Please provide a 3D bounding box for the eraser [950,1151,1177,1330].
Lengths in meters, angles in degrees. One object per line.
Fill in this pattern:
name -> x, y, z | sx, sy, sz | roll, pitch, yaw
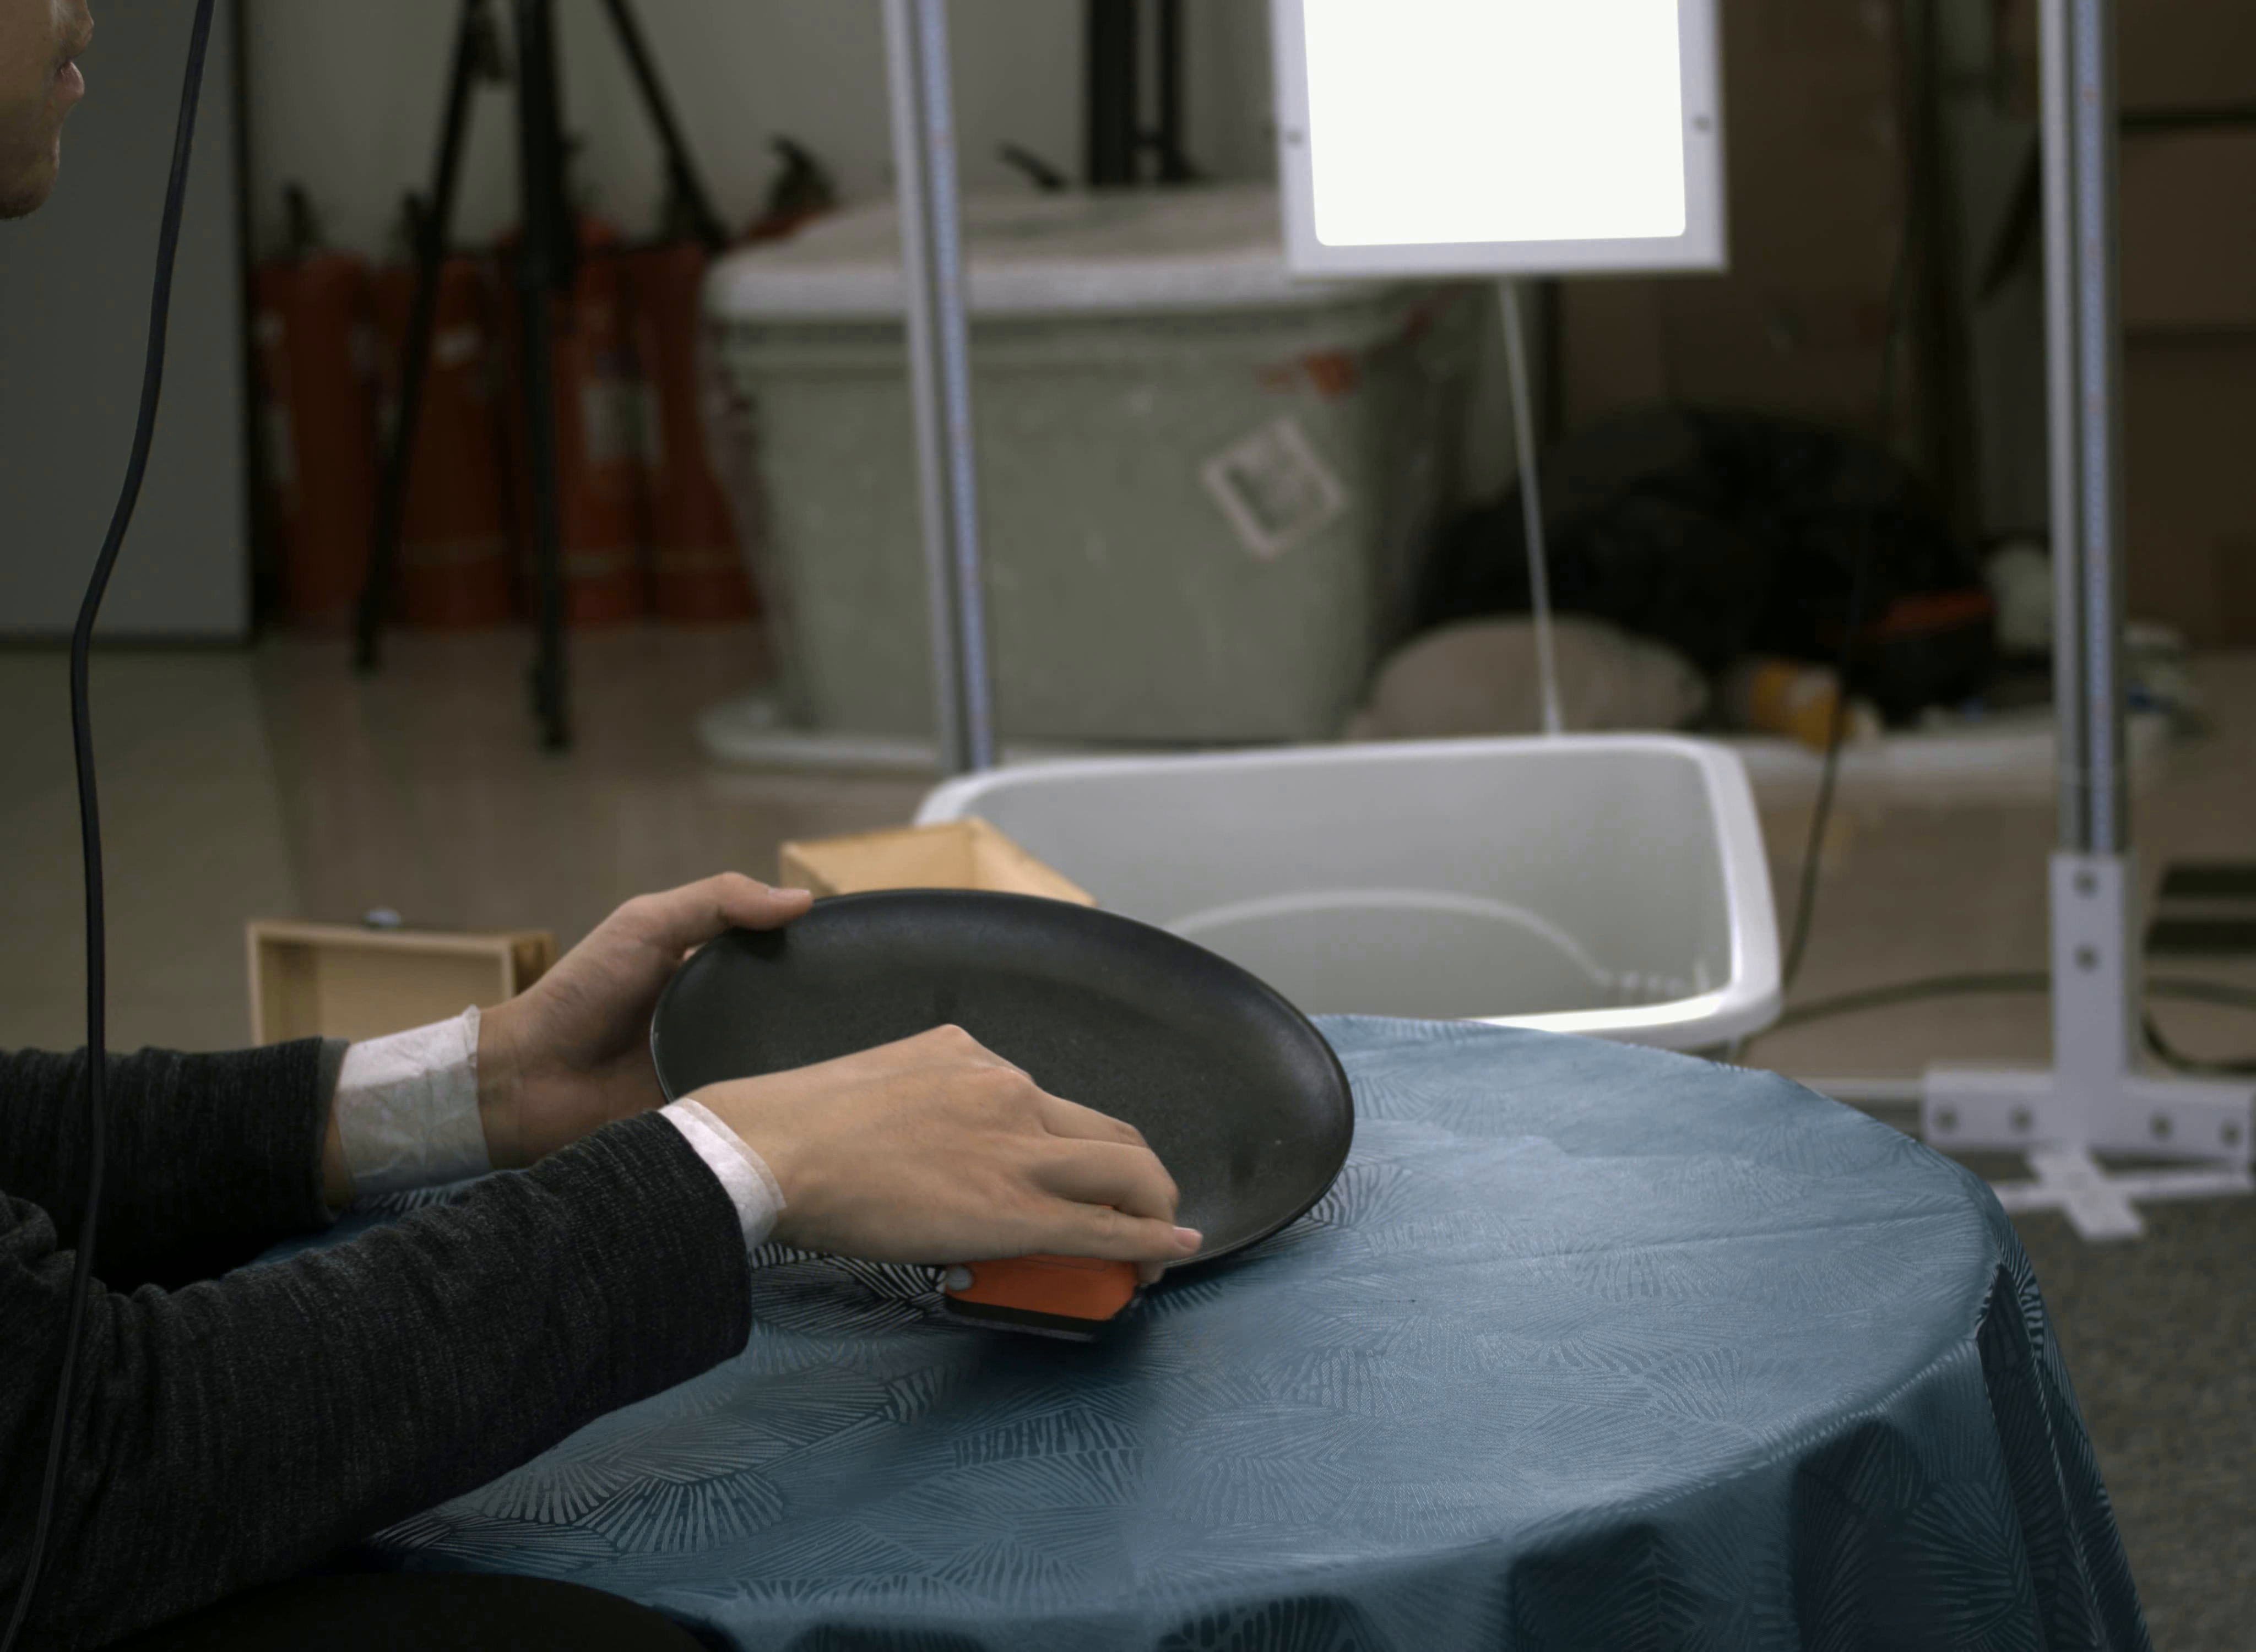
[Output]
eraser -> -0.020, 0.132, 1.768 | 0.059, 0.023, 0.107 | 0, 16, 12

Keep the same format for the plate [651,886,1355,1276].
plate -> -0.043, 0.092, 1.885 | 0.243, 0.023, 0.244 | 5, 30, -4
